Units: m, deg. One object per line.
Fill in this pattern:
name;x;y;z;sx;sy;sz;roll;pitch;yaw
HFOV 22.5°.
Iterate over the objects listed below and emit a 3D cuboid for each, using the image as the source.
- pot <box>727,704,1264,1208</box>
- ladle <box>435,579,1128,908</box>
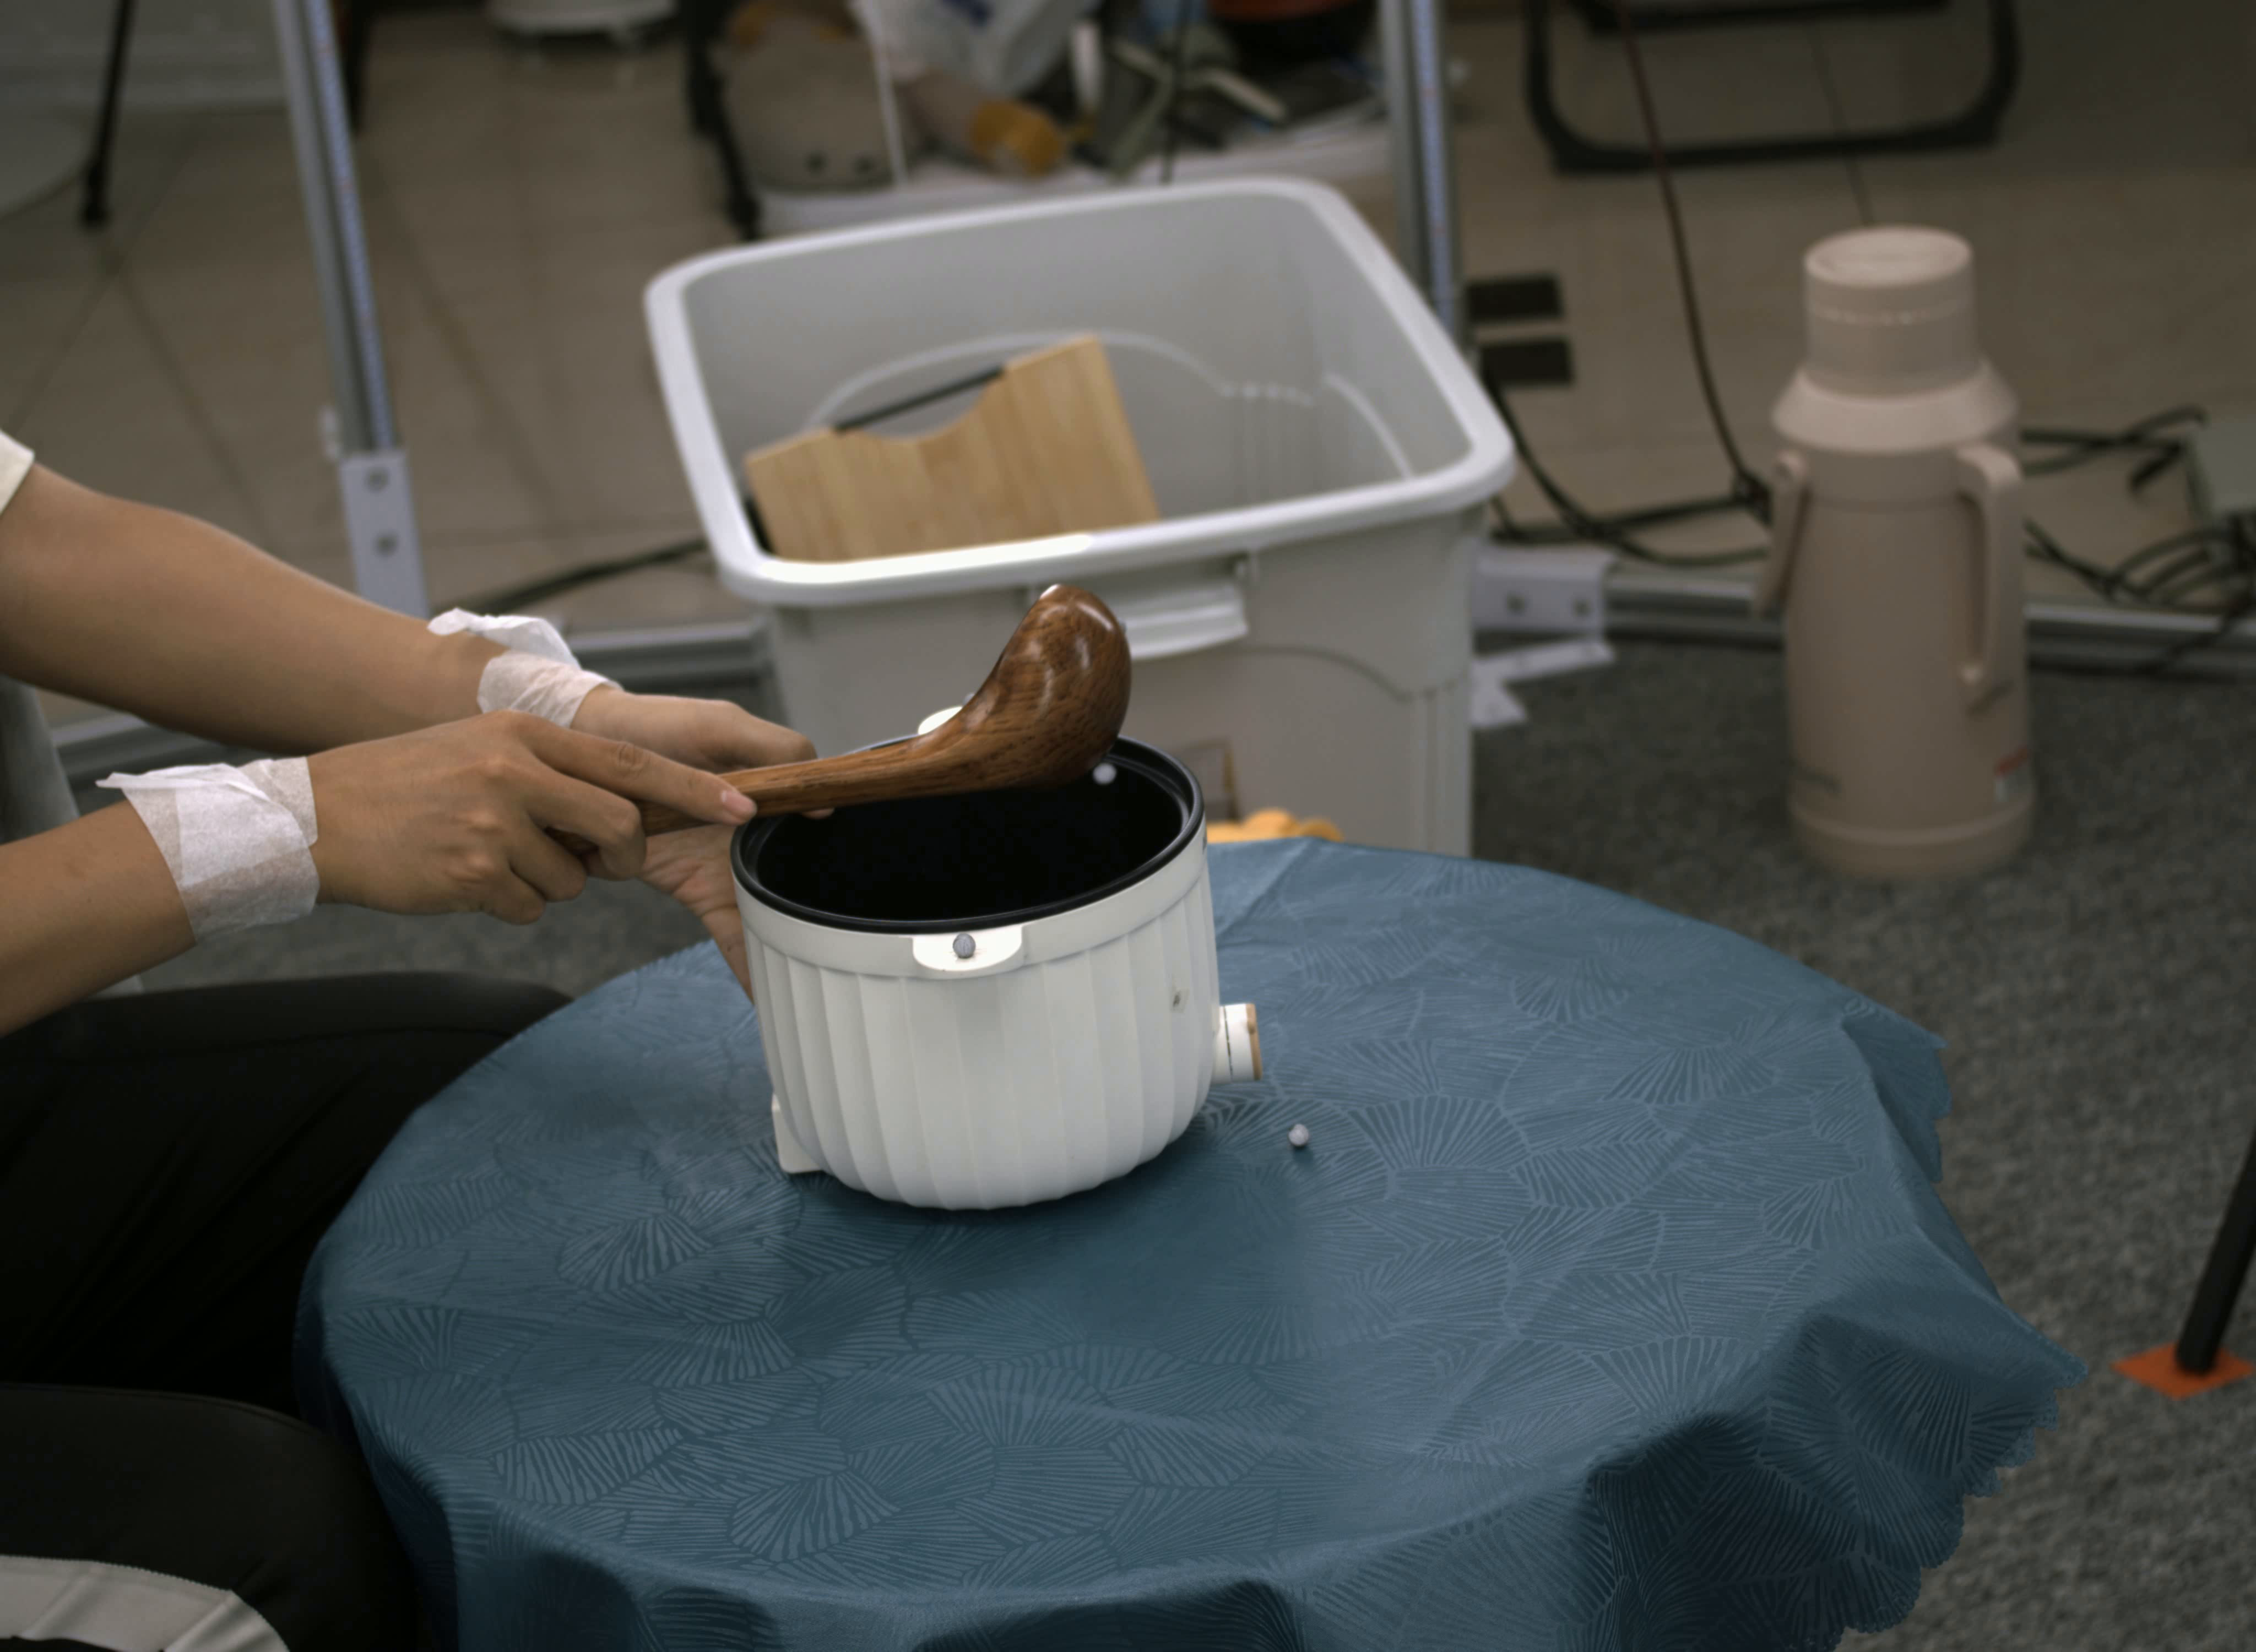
pot;-0.049;0.056;2.174;0.190;0.145;0.237;-9;26;2
ladle;-0.131;-0.030;2.142;0.273;0.083;0.075;-12;35;-4
